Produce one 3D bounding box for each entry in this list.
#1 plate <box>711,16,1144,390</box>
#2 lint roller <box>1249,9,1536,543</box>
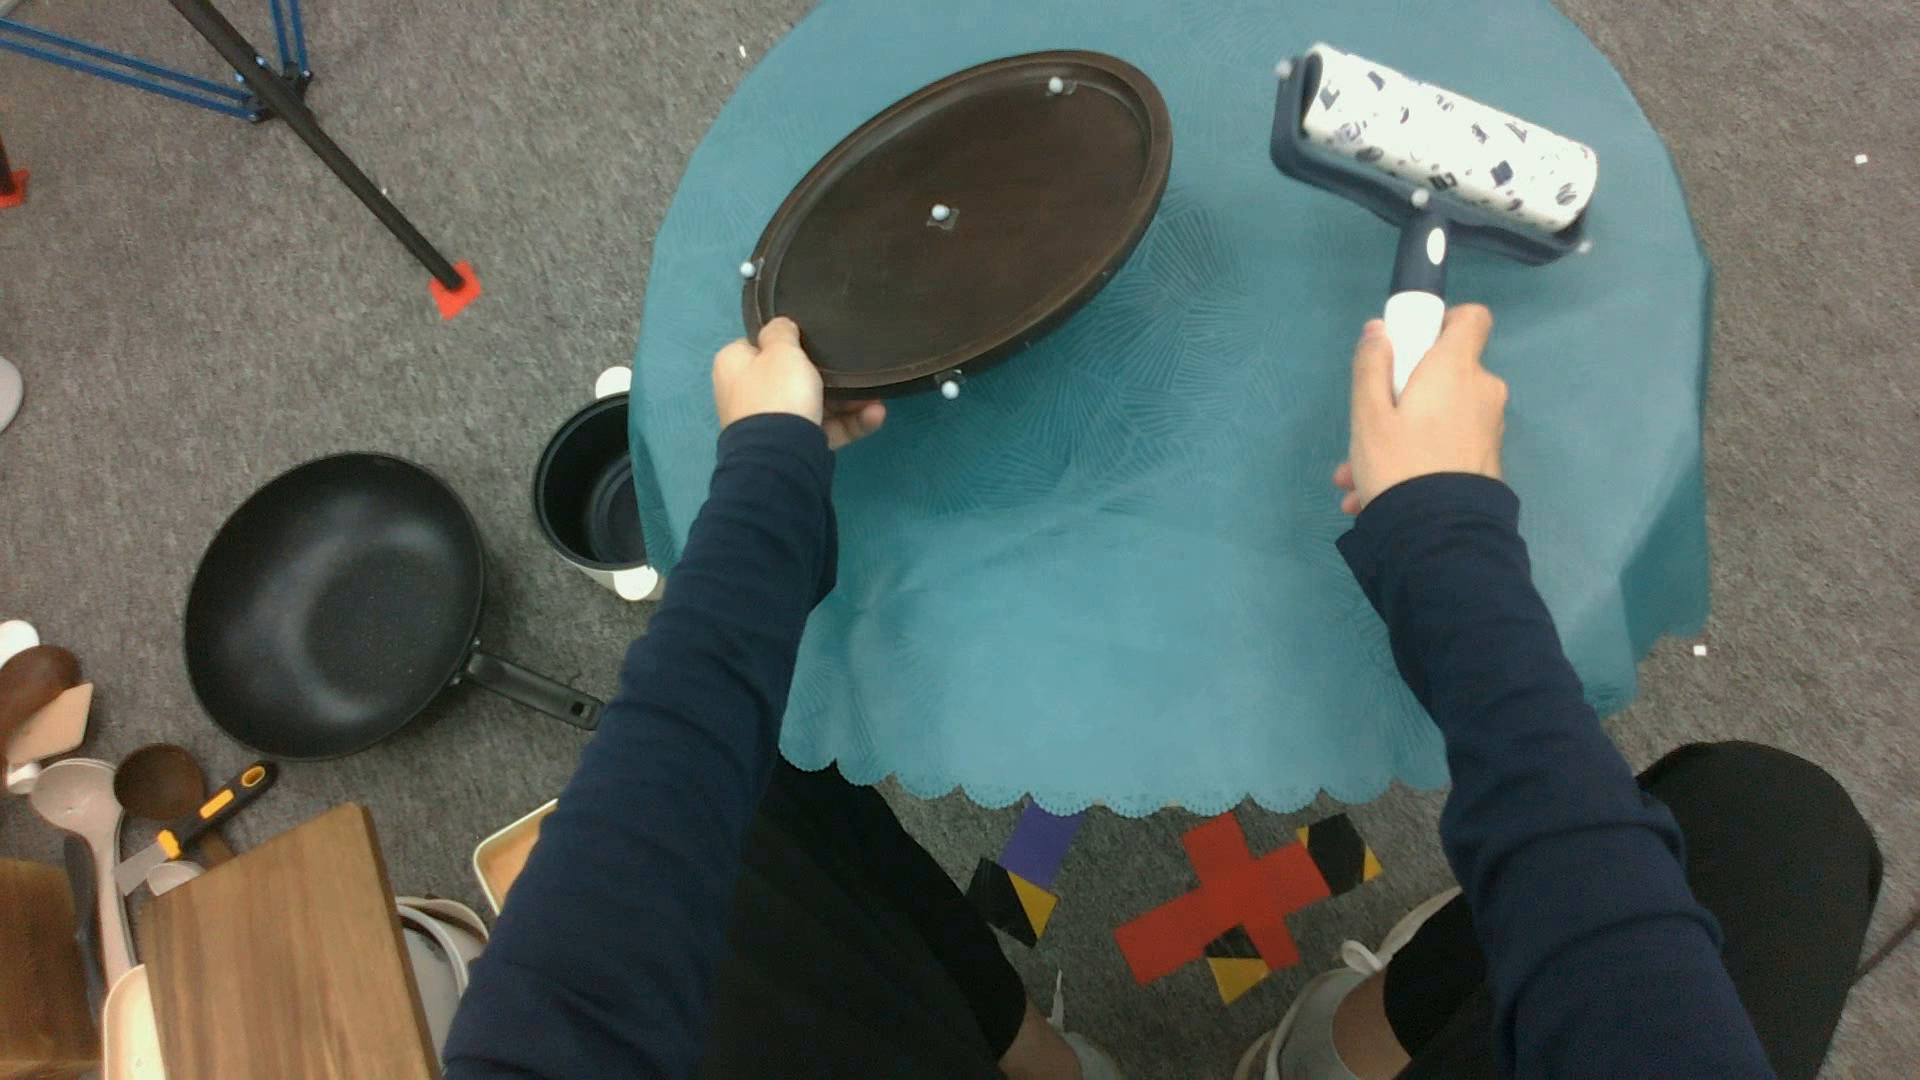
[{"bbox_3d":[-0.020,-0.180,0.735,0.254,0.029,0.256,-16,50,21],"label":"plate"},{"bbox_3d":[0.208,-0.119,0.676,0.176,0.050,0.247,16,73,-28],"label":"lint roller"}]
